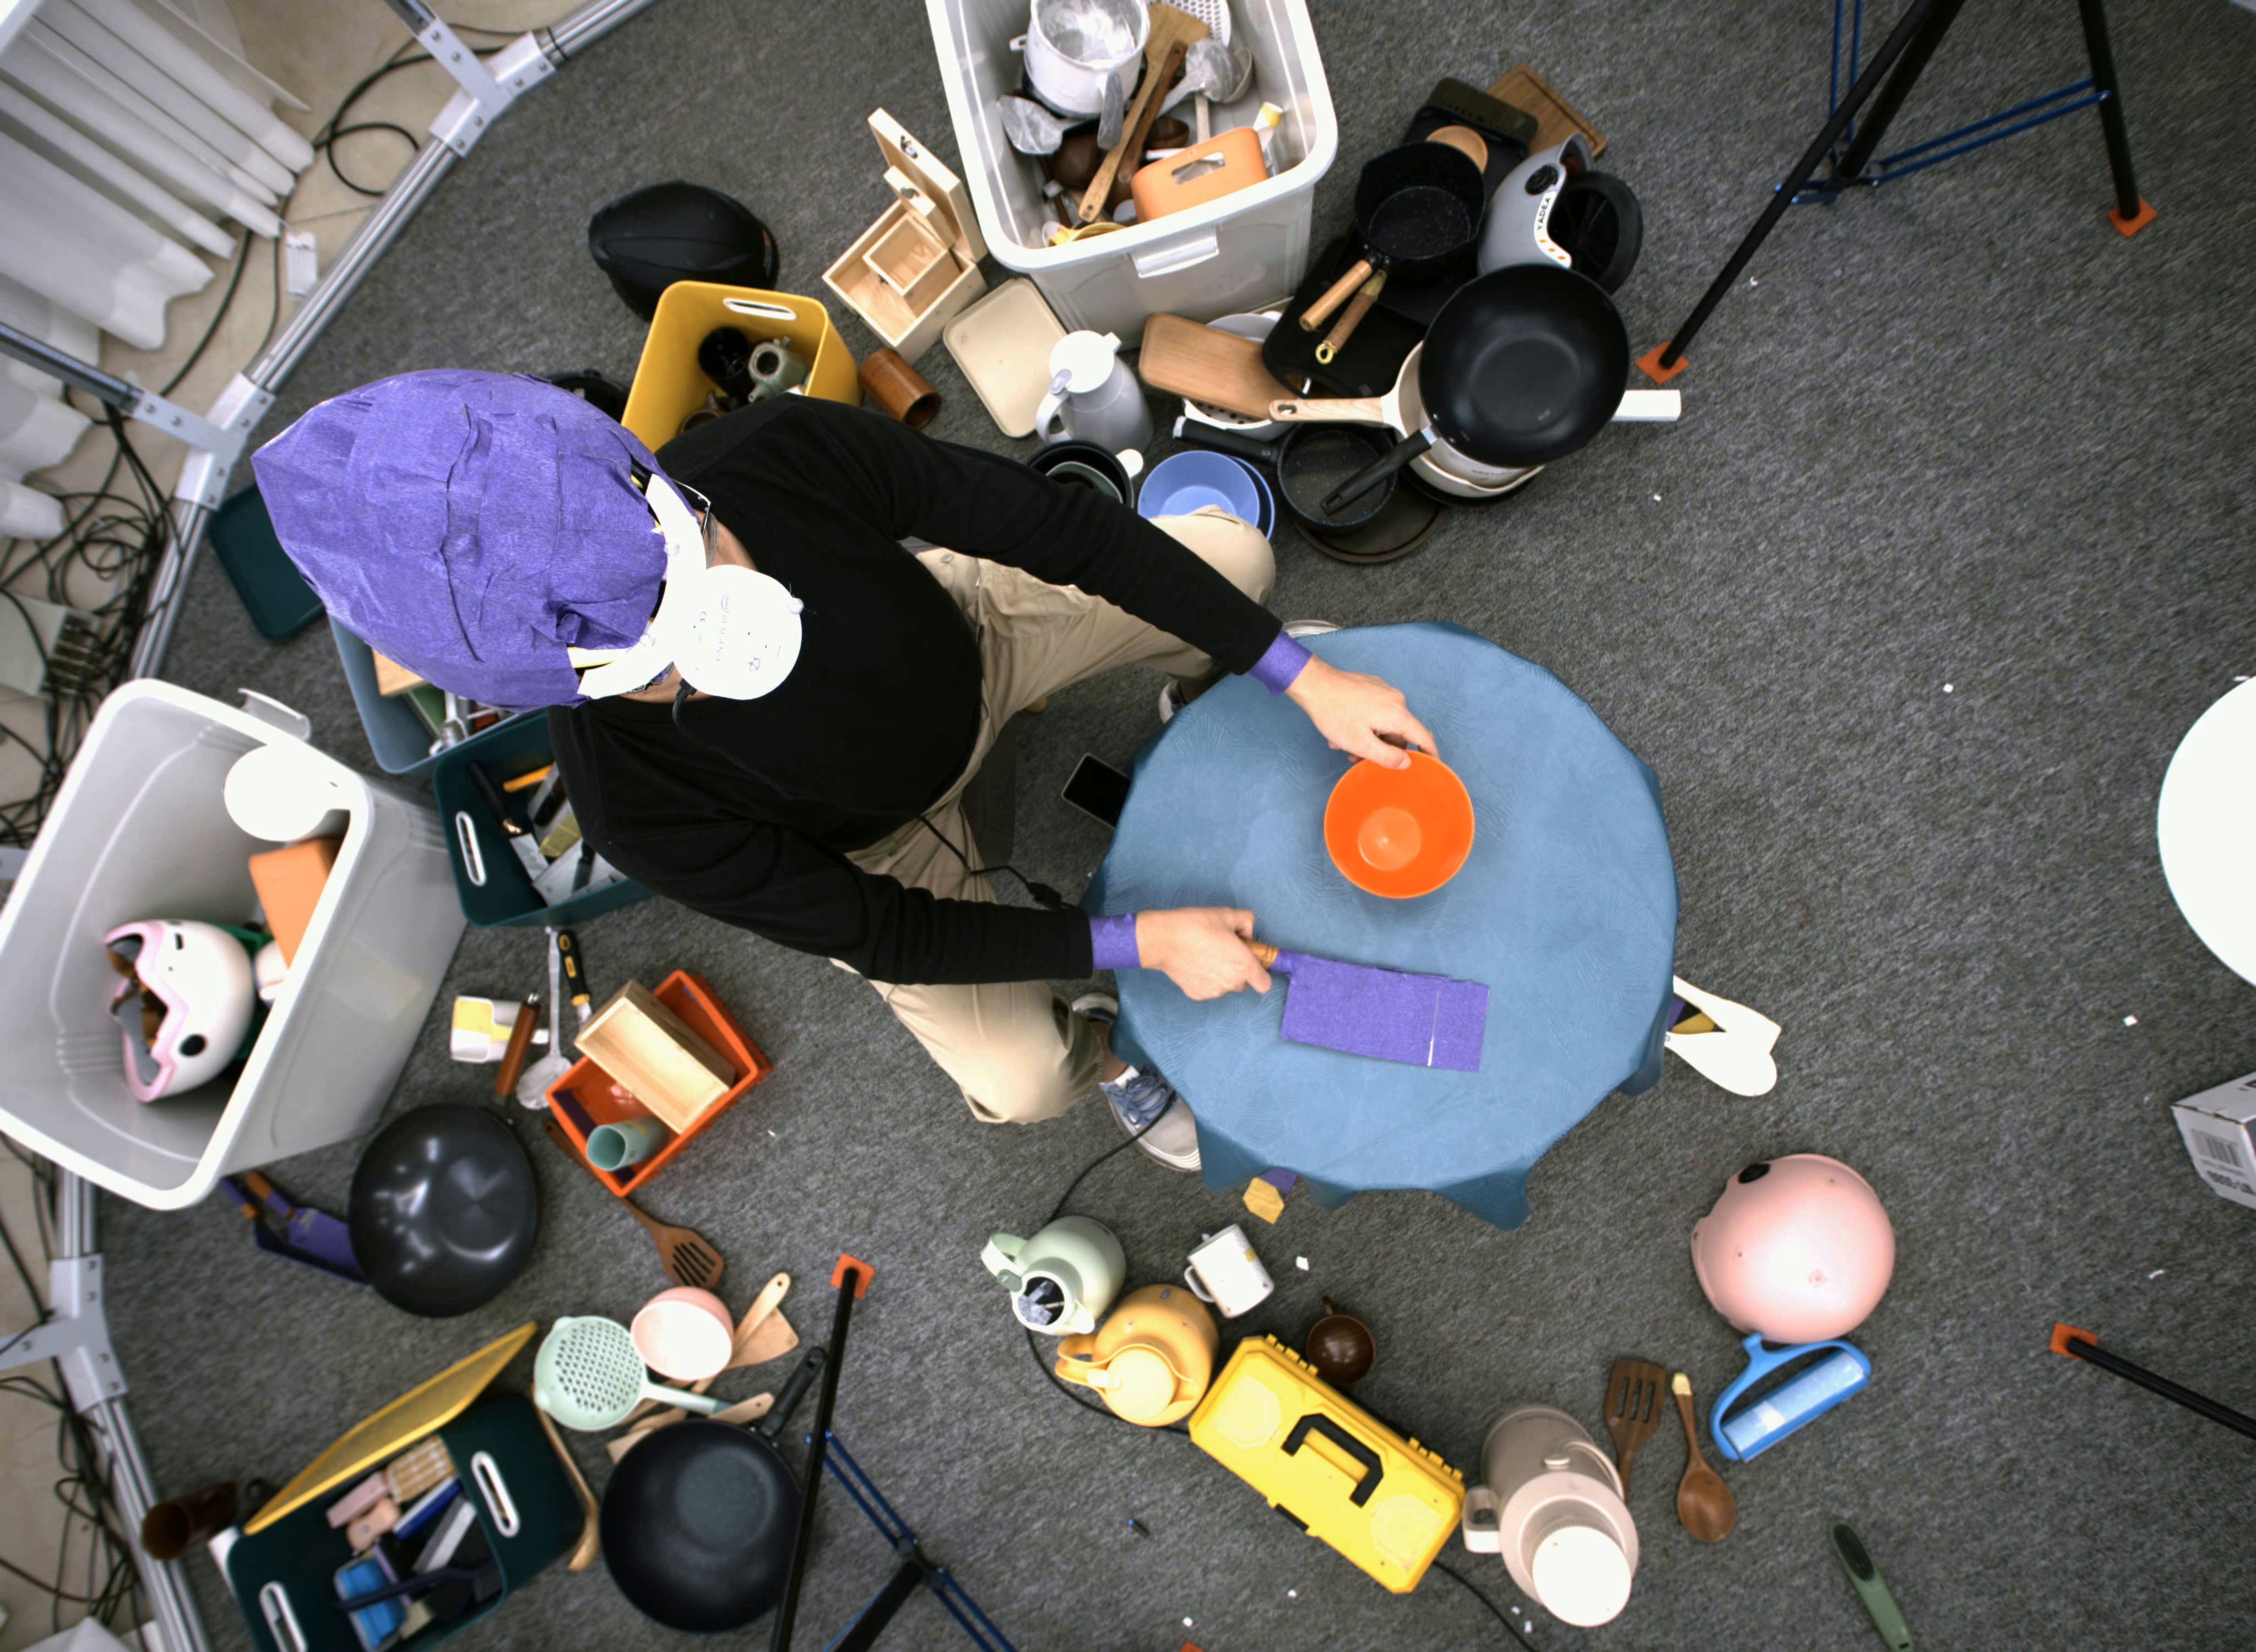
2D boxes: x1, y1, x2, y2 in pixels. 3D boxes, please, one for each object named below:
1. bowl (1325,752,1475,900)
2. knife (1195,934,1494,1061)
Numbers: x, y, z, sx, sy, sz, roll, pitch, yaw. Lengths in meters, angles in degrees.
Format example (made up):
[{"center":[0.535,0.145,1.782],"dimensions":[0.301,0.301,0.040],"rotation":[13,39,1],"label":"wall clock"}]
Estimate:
[{"center":[0.277,0.002,1.412],"dimensions":[0.148,0.104,0.147],"rotation":[0,88,10],"label":"bowl"},{"center":[0.220,0.181,1.445],"dimensions":[0.316,0.032,0.103],"rotation":[9,89,8],"label":"knife"}]
